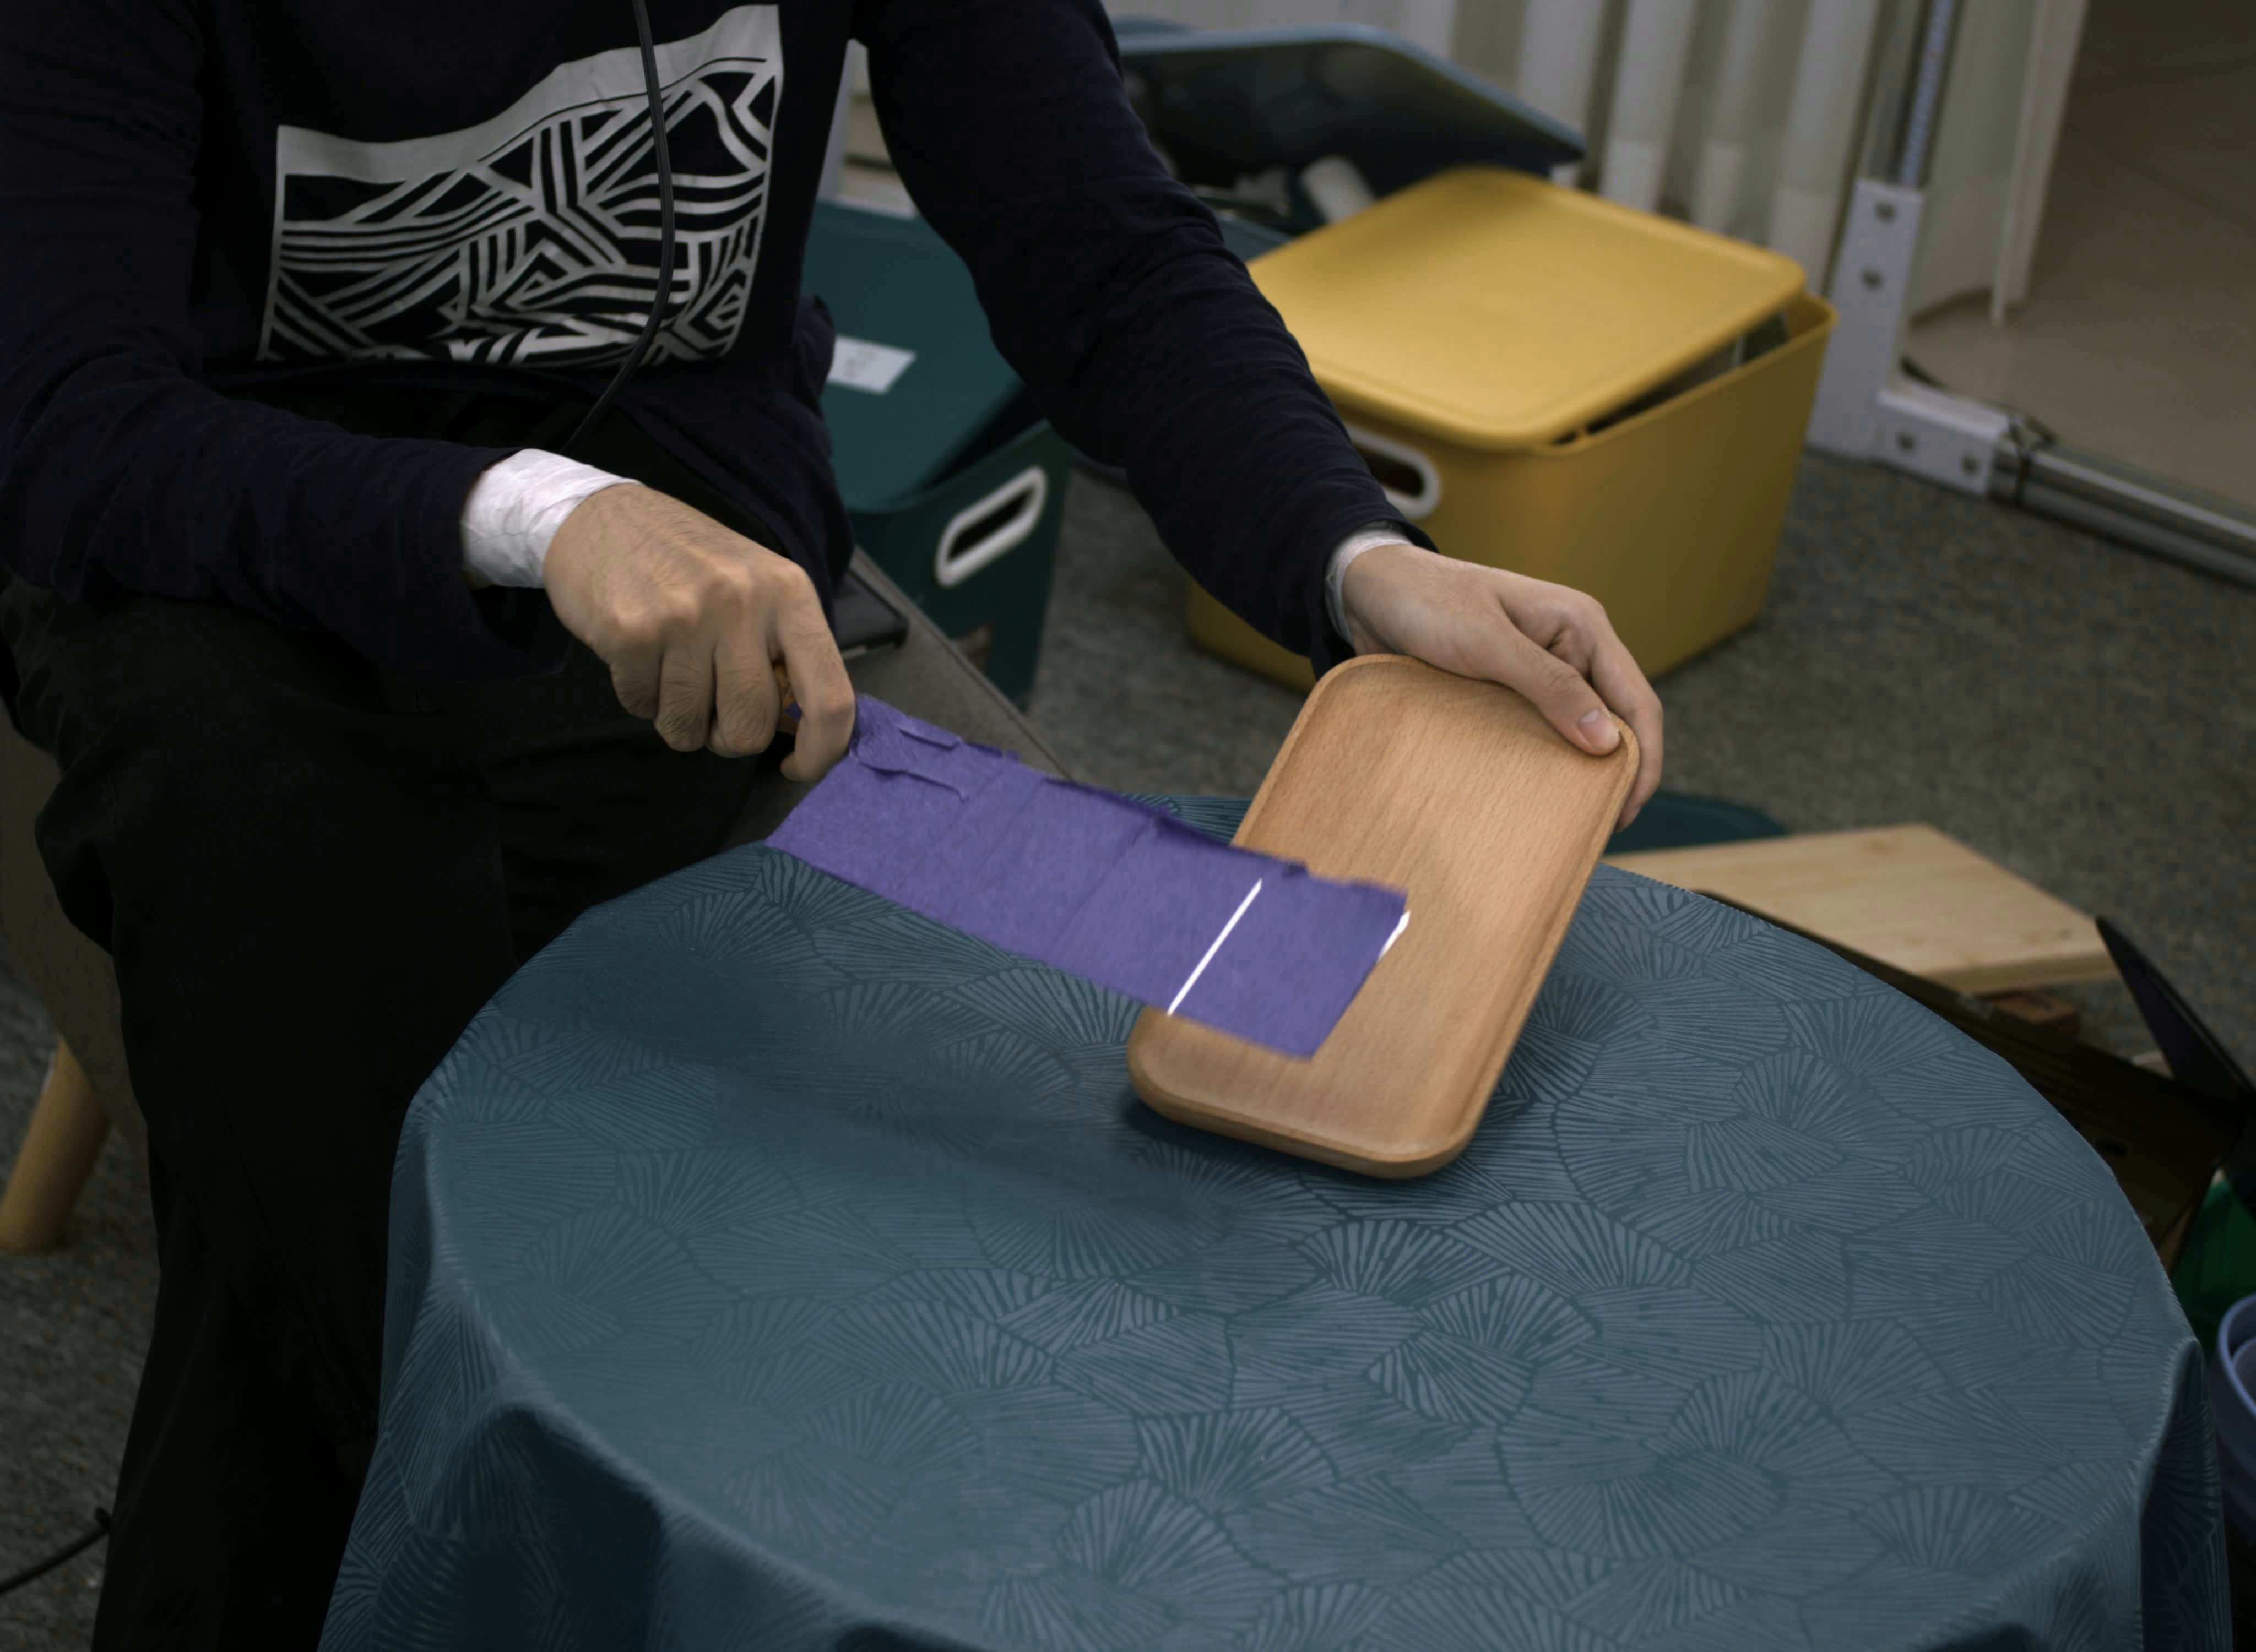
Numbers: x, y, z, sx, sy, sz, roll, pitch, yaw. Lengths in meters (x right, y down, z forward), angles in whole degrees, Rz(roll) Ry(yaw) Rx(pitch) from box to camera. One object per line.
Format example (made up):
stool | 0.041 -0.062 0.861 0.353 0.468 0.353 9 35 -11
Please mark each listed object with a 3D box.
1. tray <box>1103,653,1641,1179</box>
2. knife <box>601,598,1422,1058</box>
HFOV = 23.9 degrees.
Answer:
tray | 0.091 0.030 1.917 0.131 0.023 0.251 15 46 20
knife | -0.058 -0.001 1.832 0.316 0.032 0.104 21 39 19
